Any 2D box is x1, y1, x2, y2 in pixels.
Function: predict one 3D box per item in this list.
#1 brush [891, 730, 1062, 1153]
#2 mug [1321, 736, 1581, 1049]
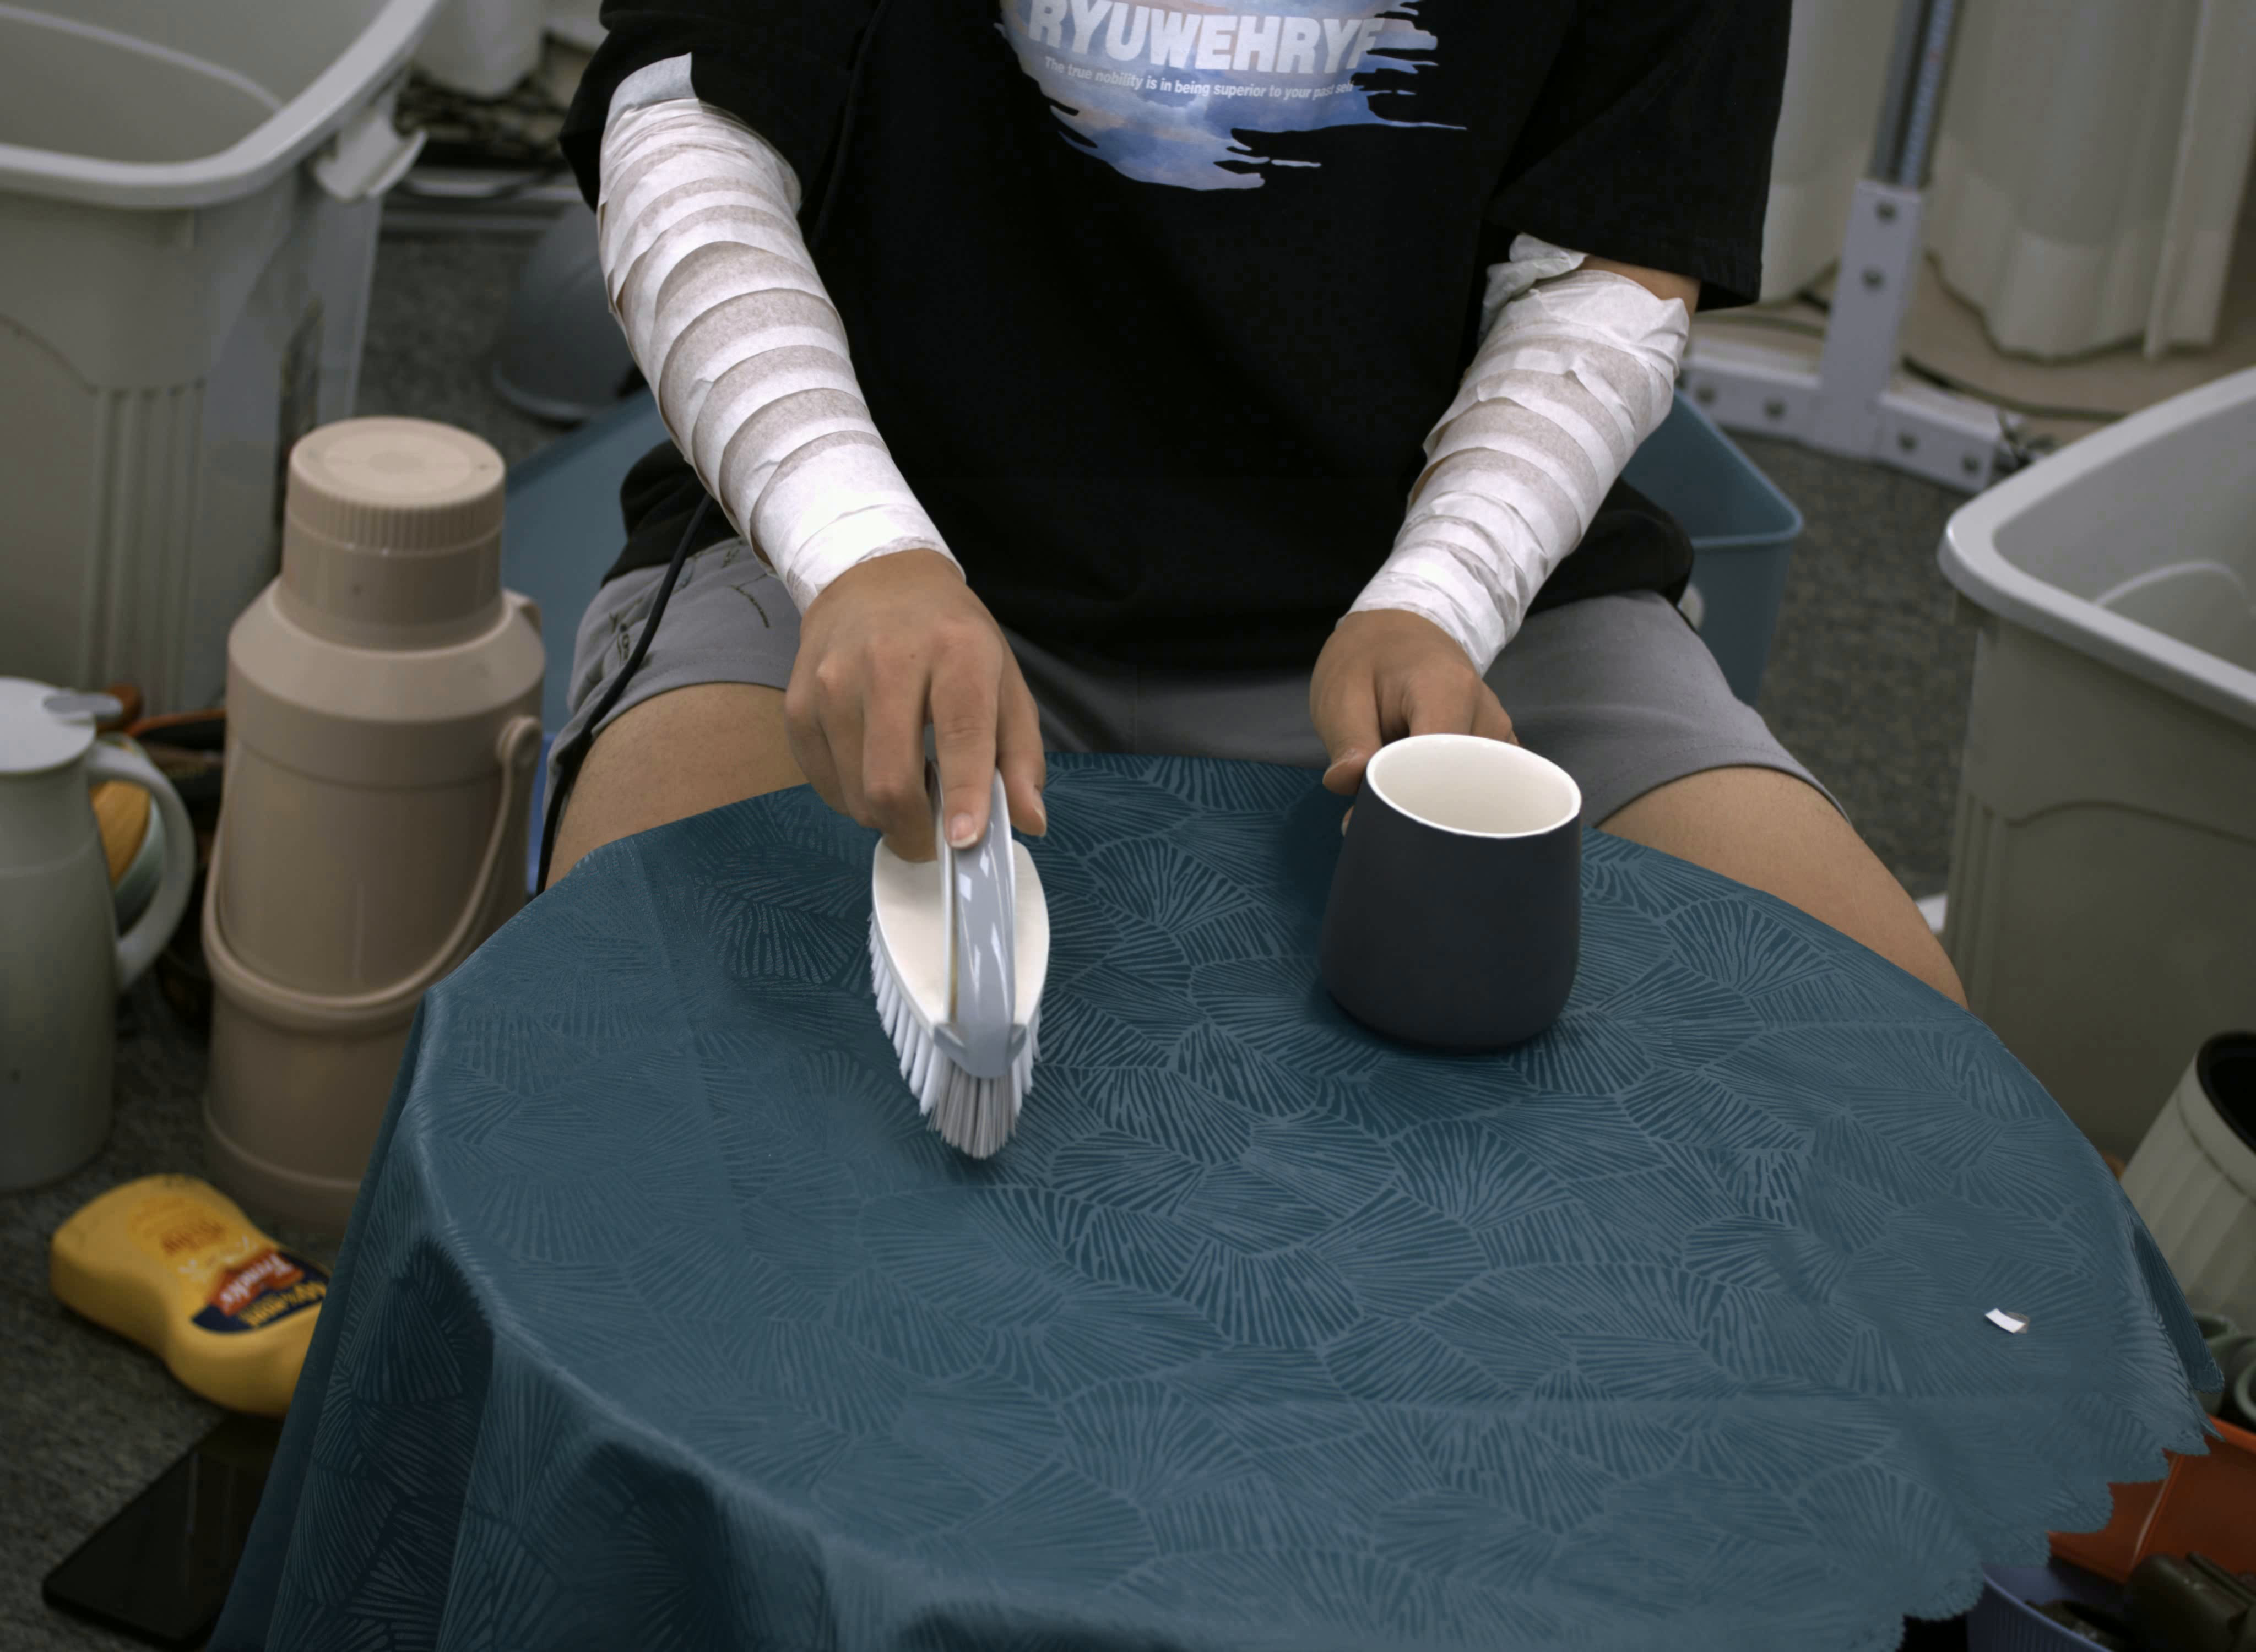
[{"bbox_3d":[-0.052,0.032,1.852,0.061,0.094,0.177,2,31,-4],"label":"brush"},{"bbox_3d":[0.114,0.018,1.940,0.093,0.089,0.124,-4,29,-20],"label":"mug"}]
